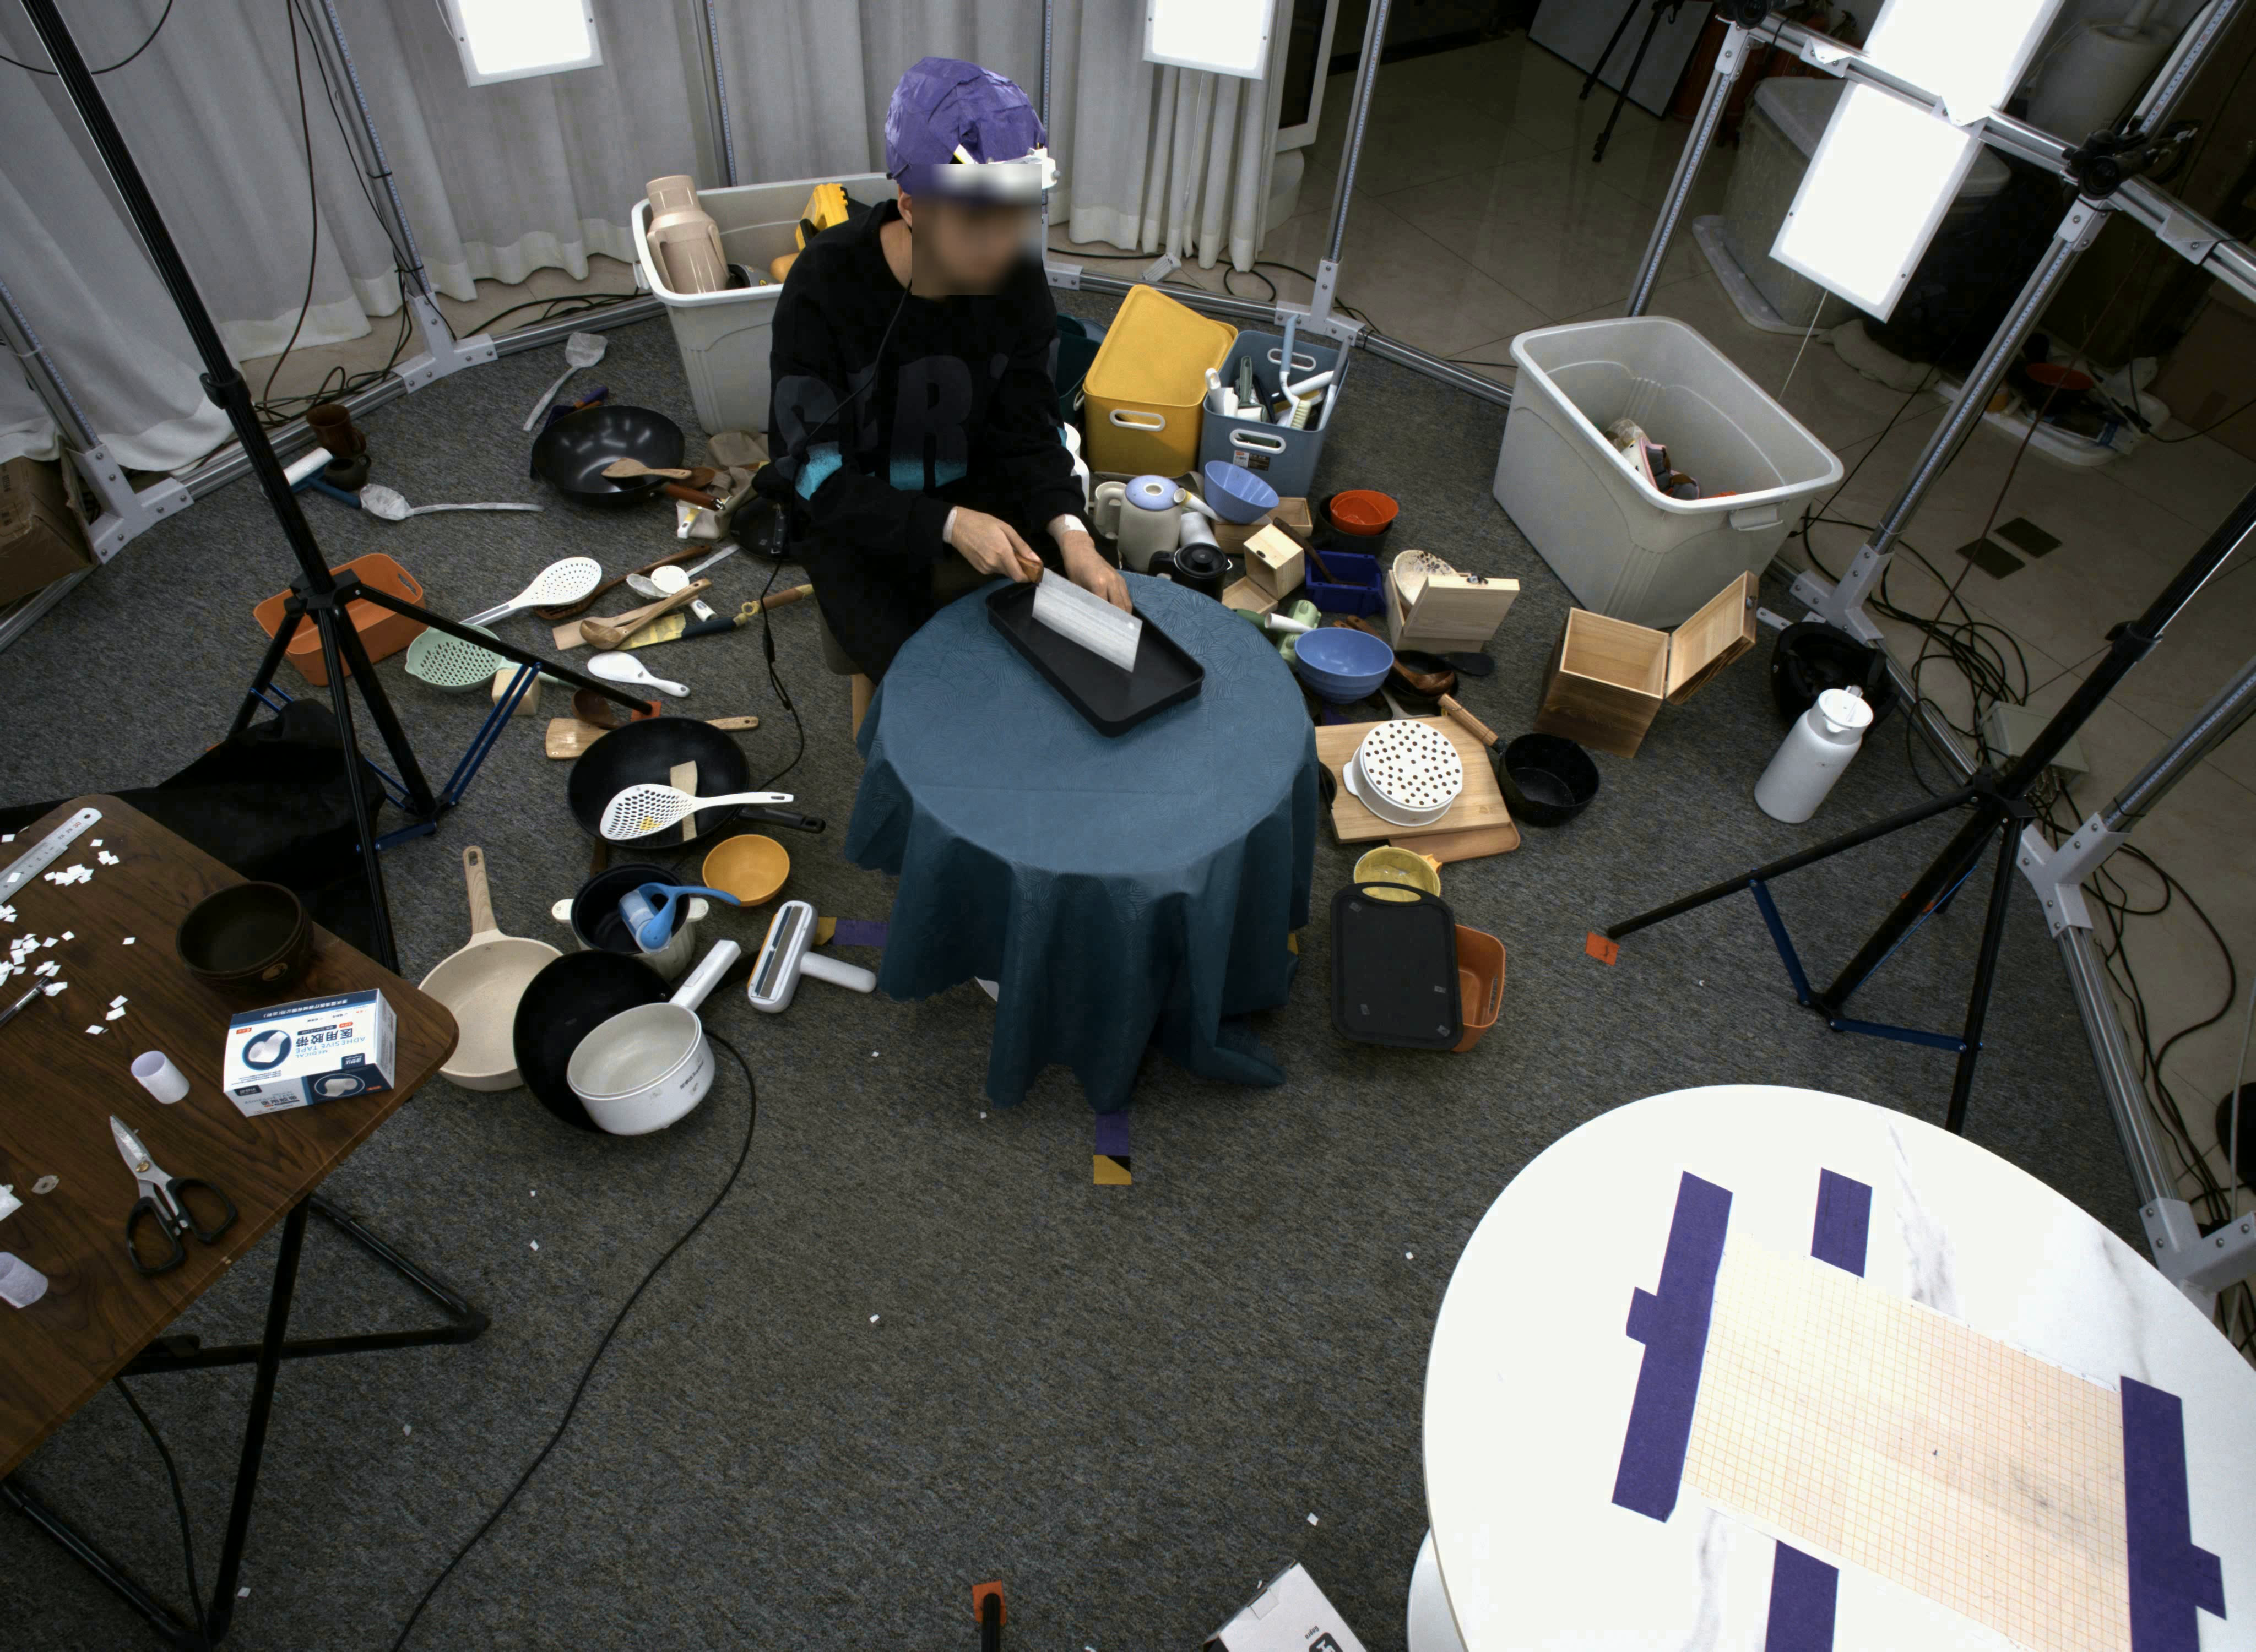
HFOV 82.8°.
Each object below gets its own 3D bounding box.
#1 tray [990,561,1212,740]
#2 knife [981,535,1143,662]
[{"bbox_3d":[-0.042,-0.261,1.869,0.185,0.036,0.323,-30,57,-26],"label":"tray"},{"bbox_3d":[-0.101,-0.329,1.879,0.309,0.091,0.021,32,44,24],"label":"knife"}]
